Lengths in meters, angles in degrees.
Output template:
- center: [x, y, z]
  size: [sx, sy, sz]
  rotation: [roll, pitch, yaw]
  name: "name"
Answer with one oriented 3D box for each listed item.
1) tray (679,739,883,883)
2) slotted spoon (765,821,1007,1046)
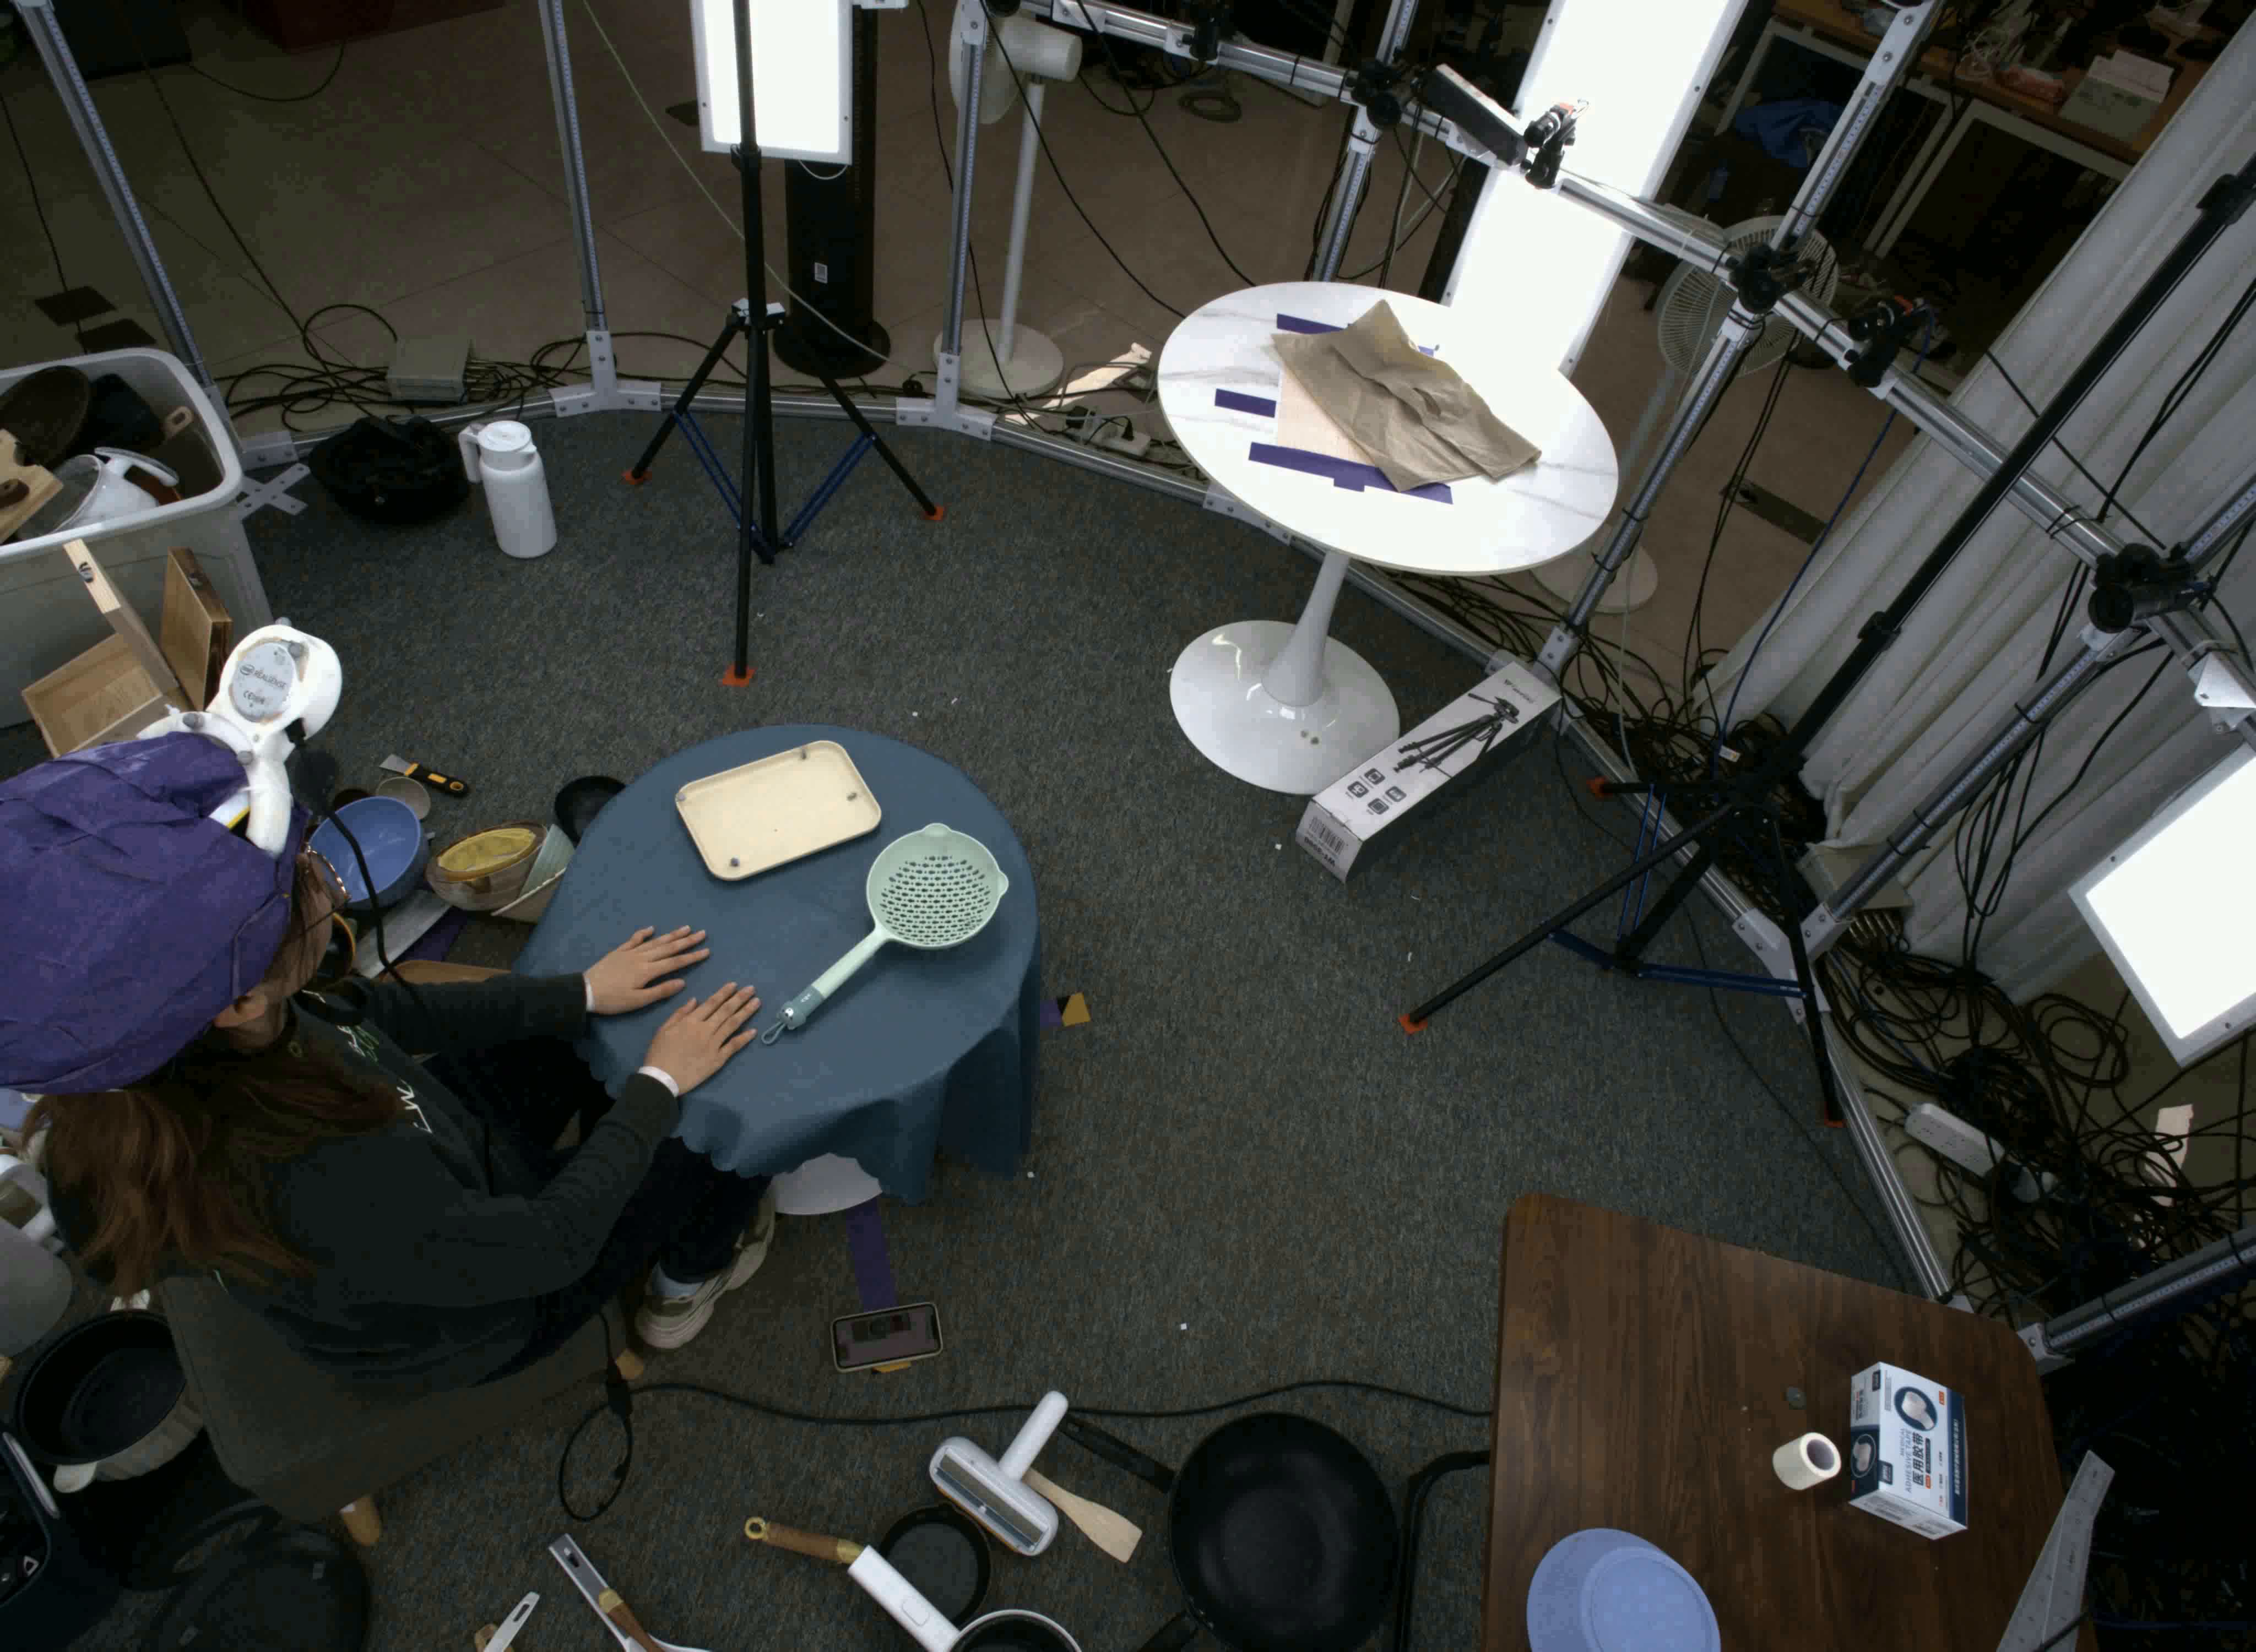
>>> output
- center: [-0.462, -0.022, 1.726]
  size: [0.241, 0.018, 0.167]
  rotation: [-23, 62, -27]
  name: "tray"
- center: [-0.310, 0.139, 1.614]
  size: [0.165, 0.077, 0.359]
  rotation: [39, 55, 17]
  name: "slotted spoon"
